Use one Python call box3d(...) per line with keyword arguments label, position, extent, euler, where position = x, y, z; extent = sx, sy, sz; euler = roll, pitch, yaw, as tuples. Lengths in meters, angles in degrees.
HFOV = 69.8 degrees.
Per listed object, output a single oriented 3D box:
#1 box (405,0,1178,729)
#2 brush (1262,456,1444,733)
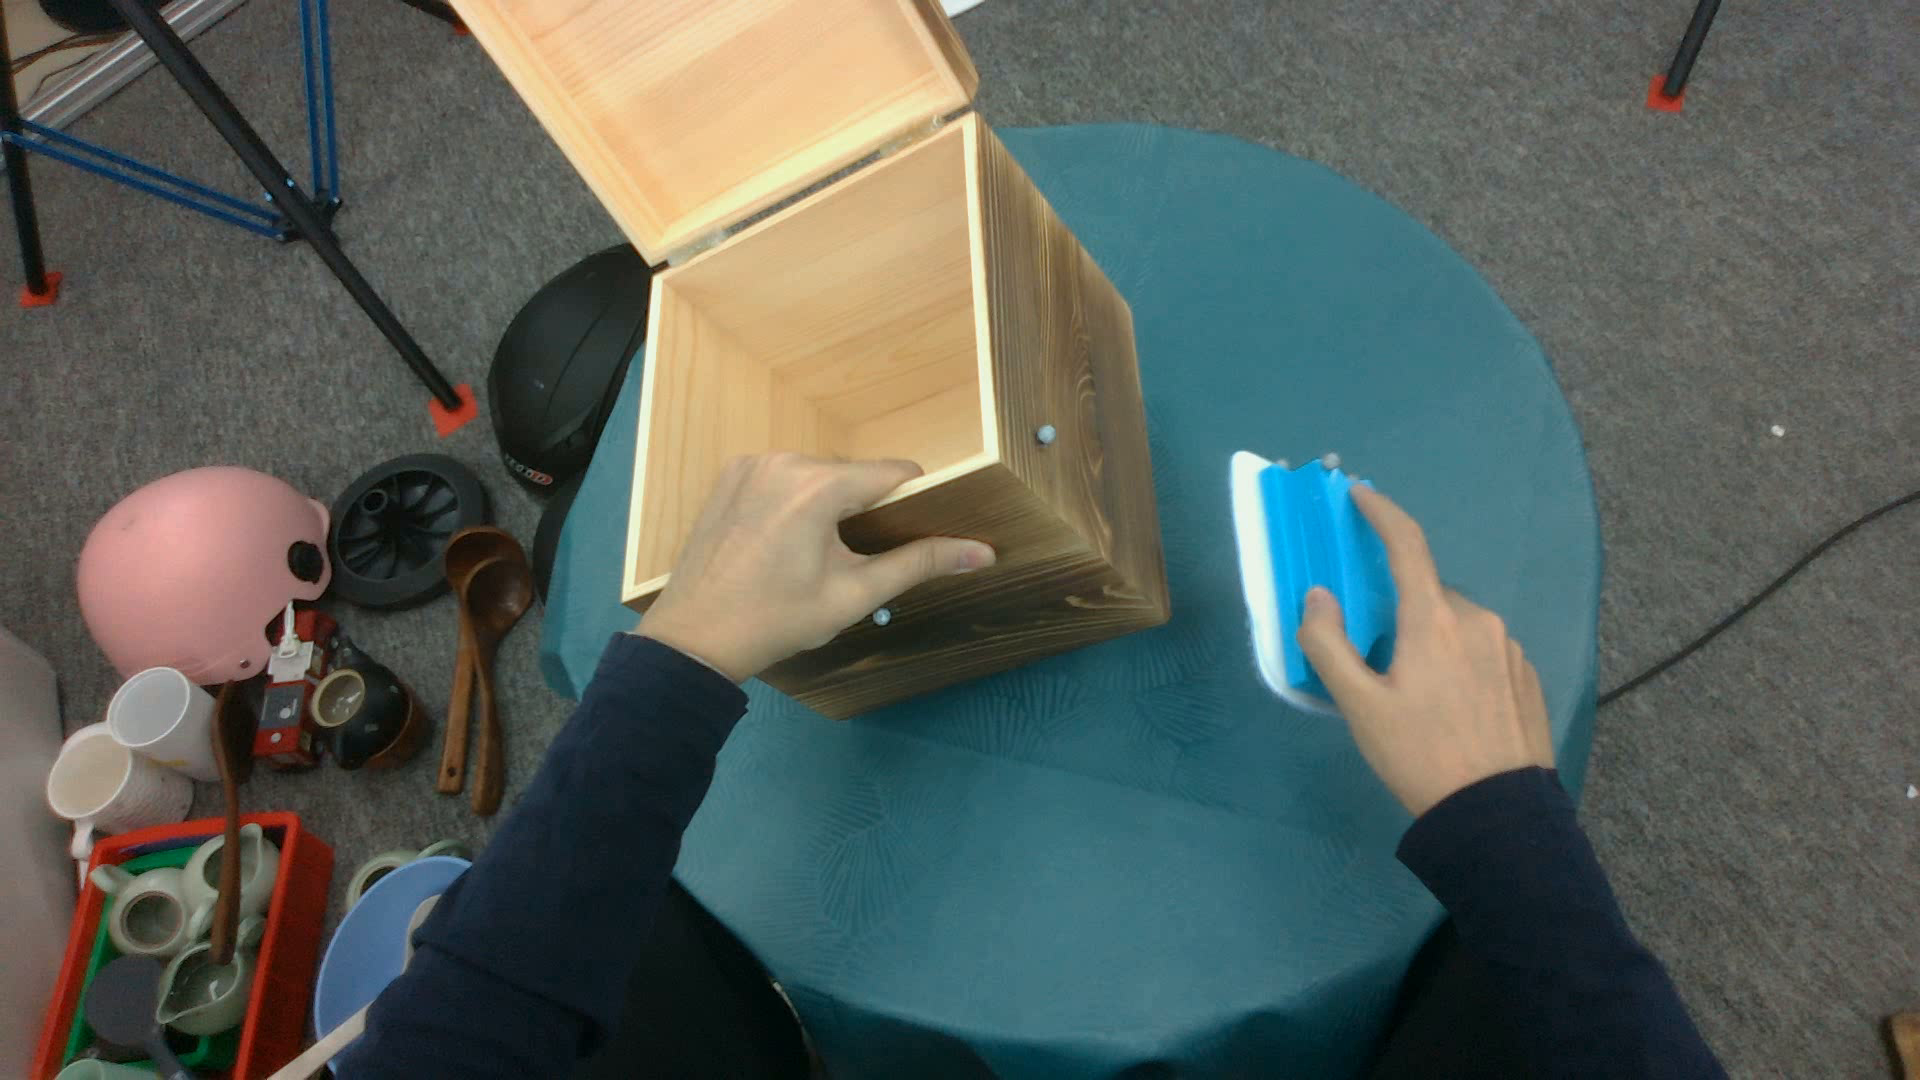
box3d(label="box", position=(-0.085, -0.126, 0.672), extent=(0.208, 0.375, 0.323), euler=(-21, 54, 25))
box3d(label="brush", position=(0.196, 0.019, 0.666), extent=(0.084, 0.055, 0.144), euler=(17, 51, -25))
